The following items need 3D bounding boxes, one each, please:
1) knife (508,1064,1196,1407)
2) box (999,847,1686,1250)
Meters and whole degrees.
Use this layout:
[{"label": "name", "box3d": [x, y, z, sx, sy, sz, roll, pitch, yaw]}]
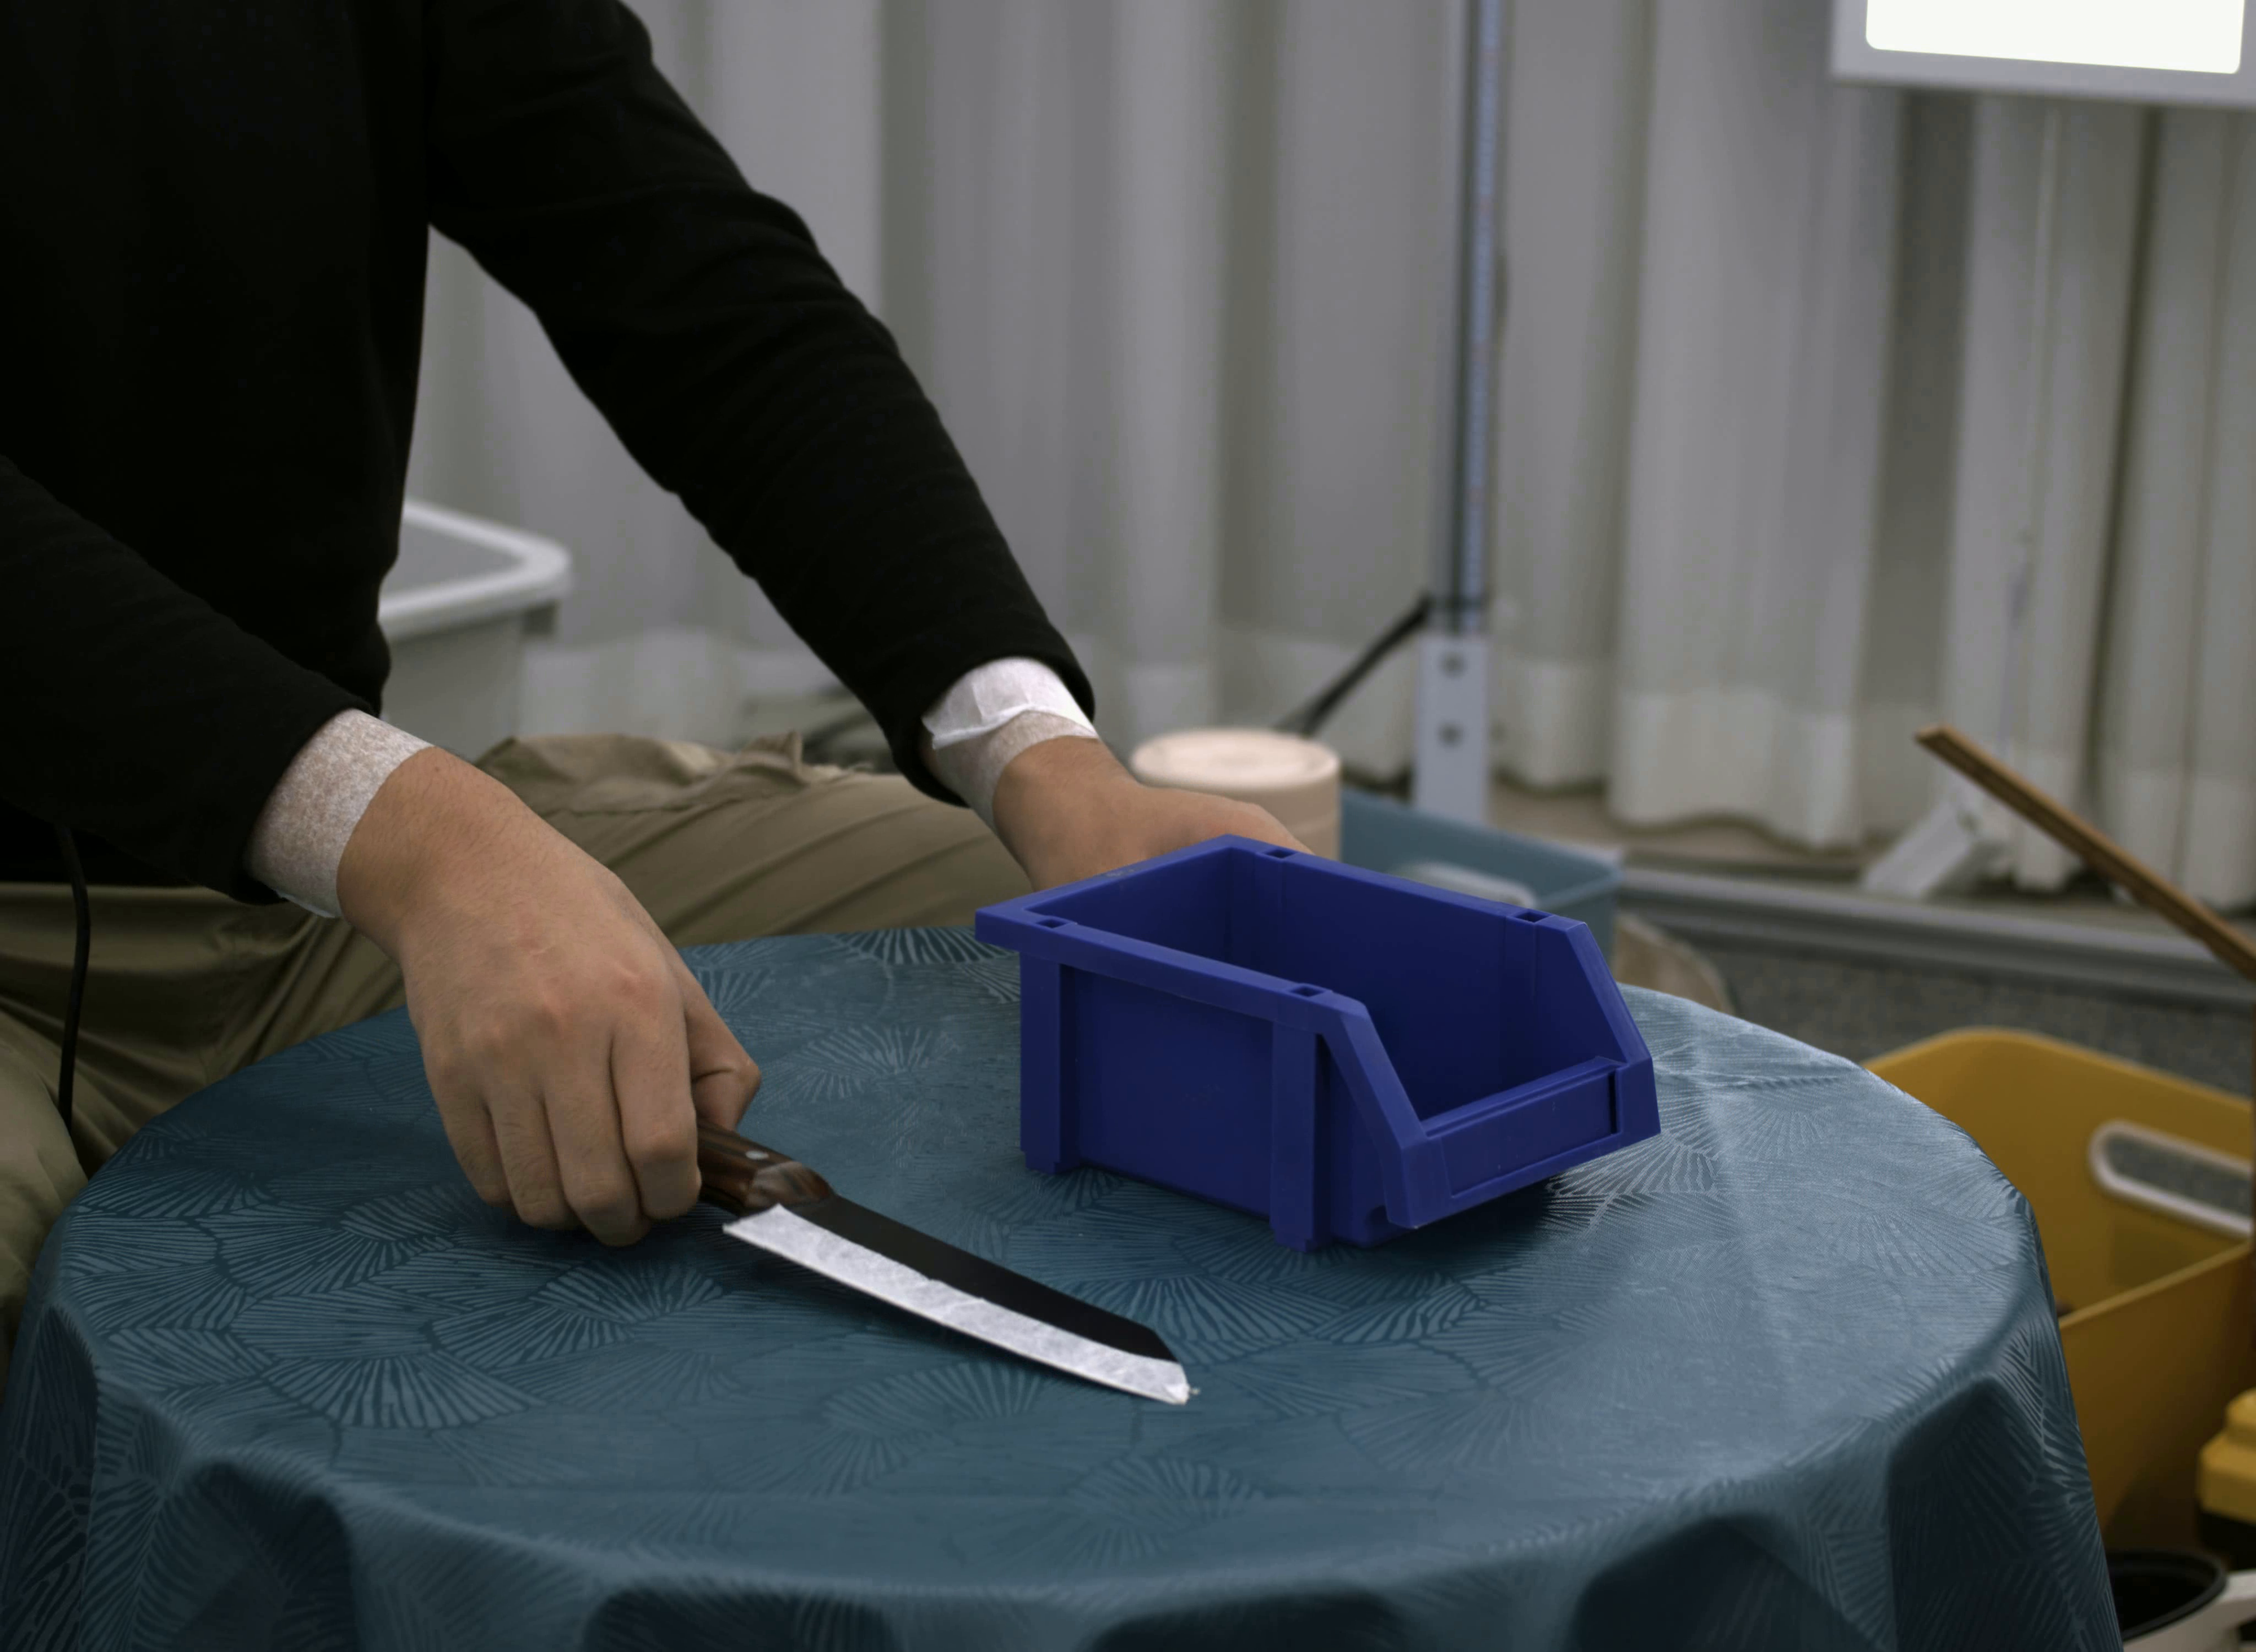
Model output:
[{"label": "knife", "box3d": [-0.085, 0.120, 1.542, 0.285, 0.020, 0.050, 20, 28, 39]}, {"label": "box", "box3d": [0.067, 0.069, 1.626, 0.177, 0.082, 0.125, 12, 19, 43]}]
